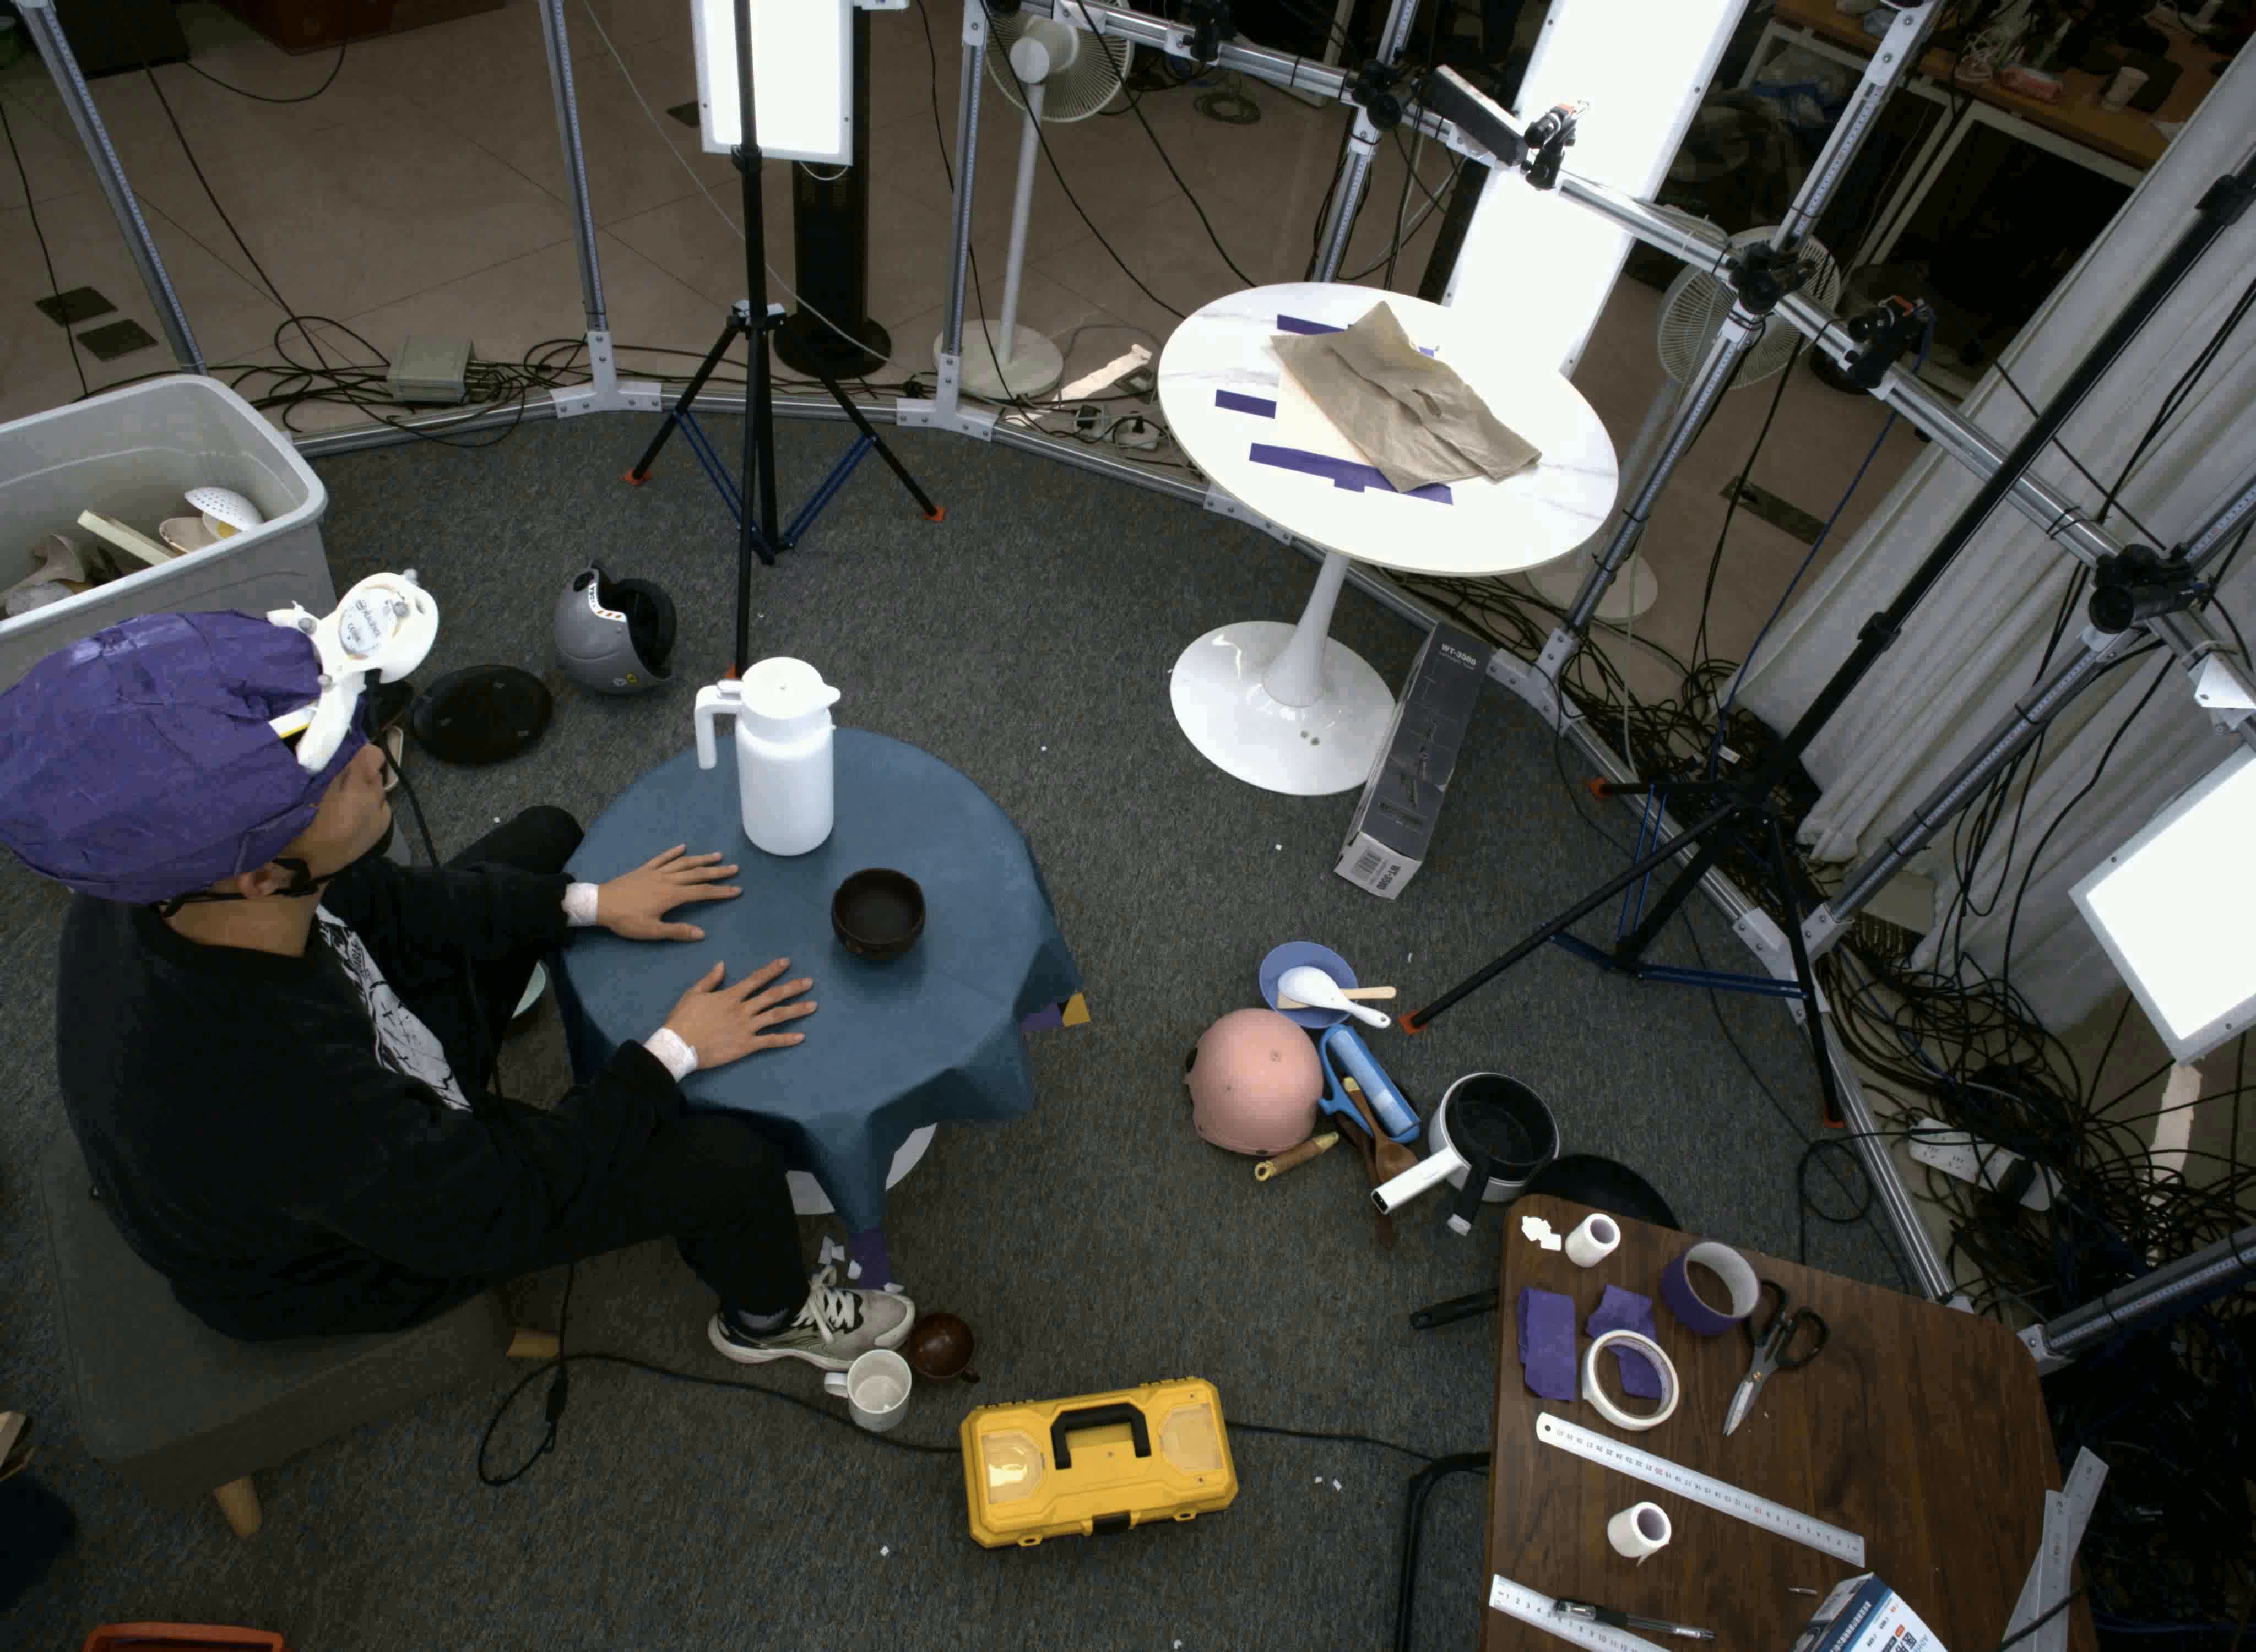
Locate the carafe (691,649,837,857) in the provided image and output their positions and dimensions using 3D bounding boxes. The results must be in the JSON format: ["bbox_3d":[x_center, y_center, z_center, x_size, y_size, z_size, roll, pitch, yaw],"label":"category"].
[{"bbox_3d":[-0.447,-0.086,1.607,0.173,0.274,0.121,-1,54,-13],"label":"carafe"}]

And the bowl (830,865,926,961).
[{"bbox_3d":[-0.311,0.114,1.618,0.118,0.071,0.116,7,53,-8],"label":"bowl"}]
